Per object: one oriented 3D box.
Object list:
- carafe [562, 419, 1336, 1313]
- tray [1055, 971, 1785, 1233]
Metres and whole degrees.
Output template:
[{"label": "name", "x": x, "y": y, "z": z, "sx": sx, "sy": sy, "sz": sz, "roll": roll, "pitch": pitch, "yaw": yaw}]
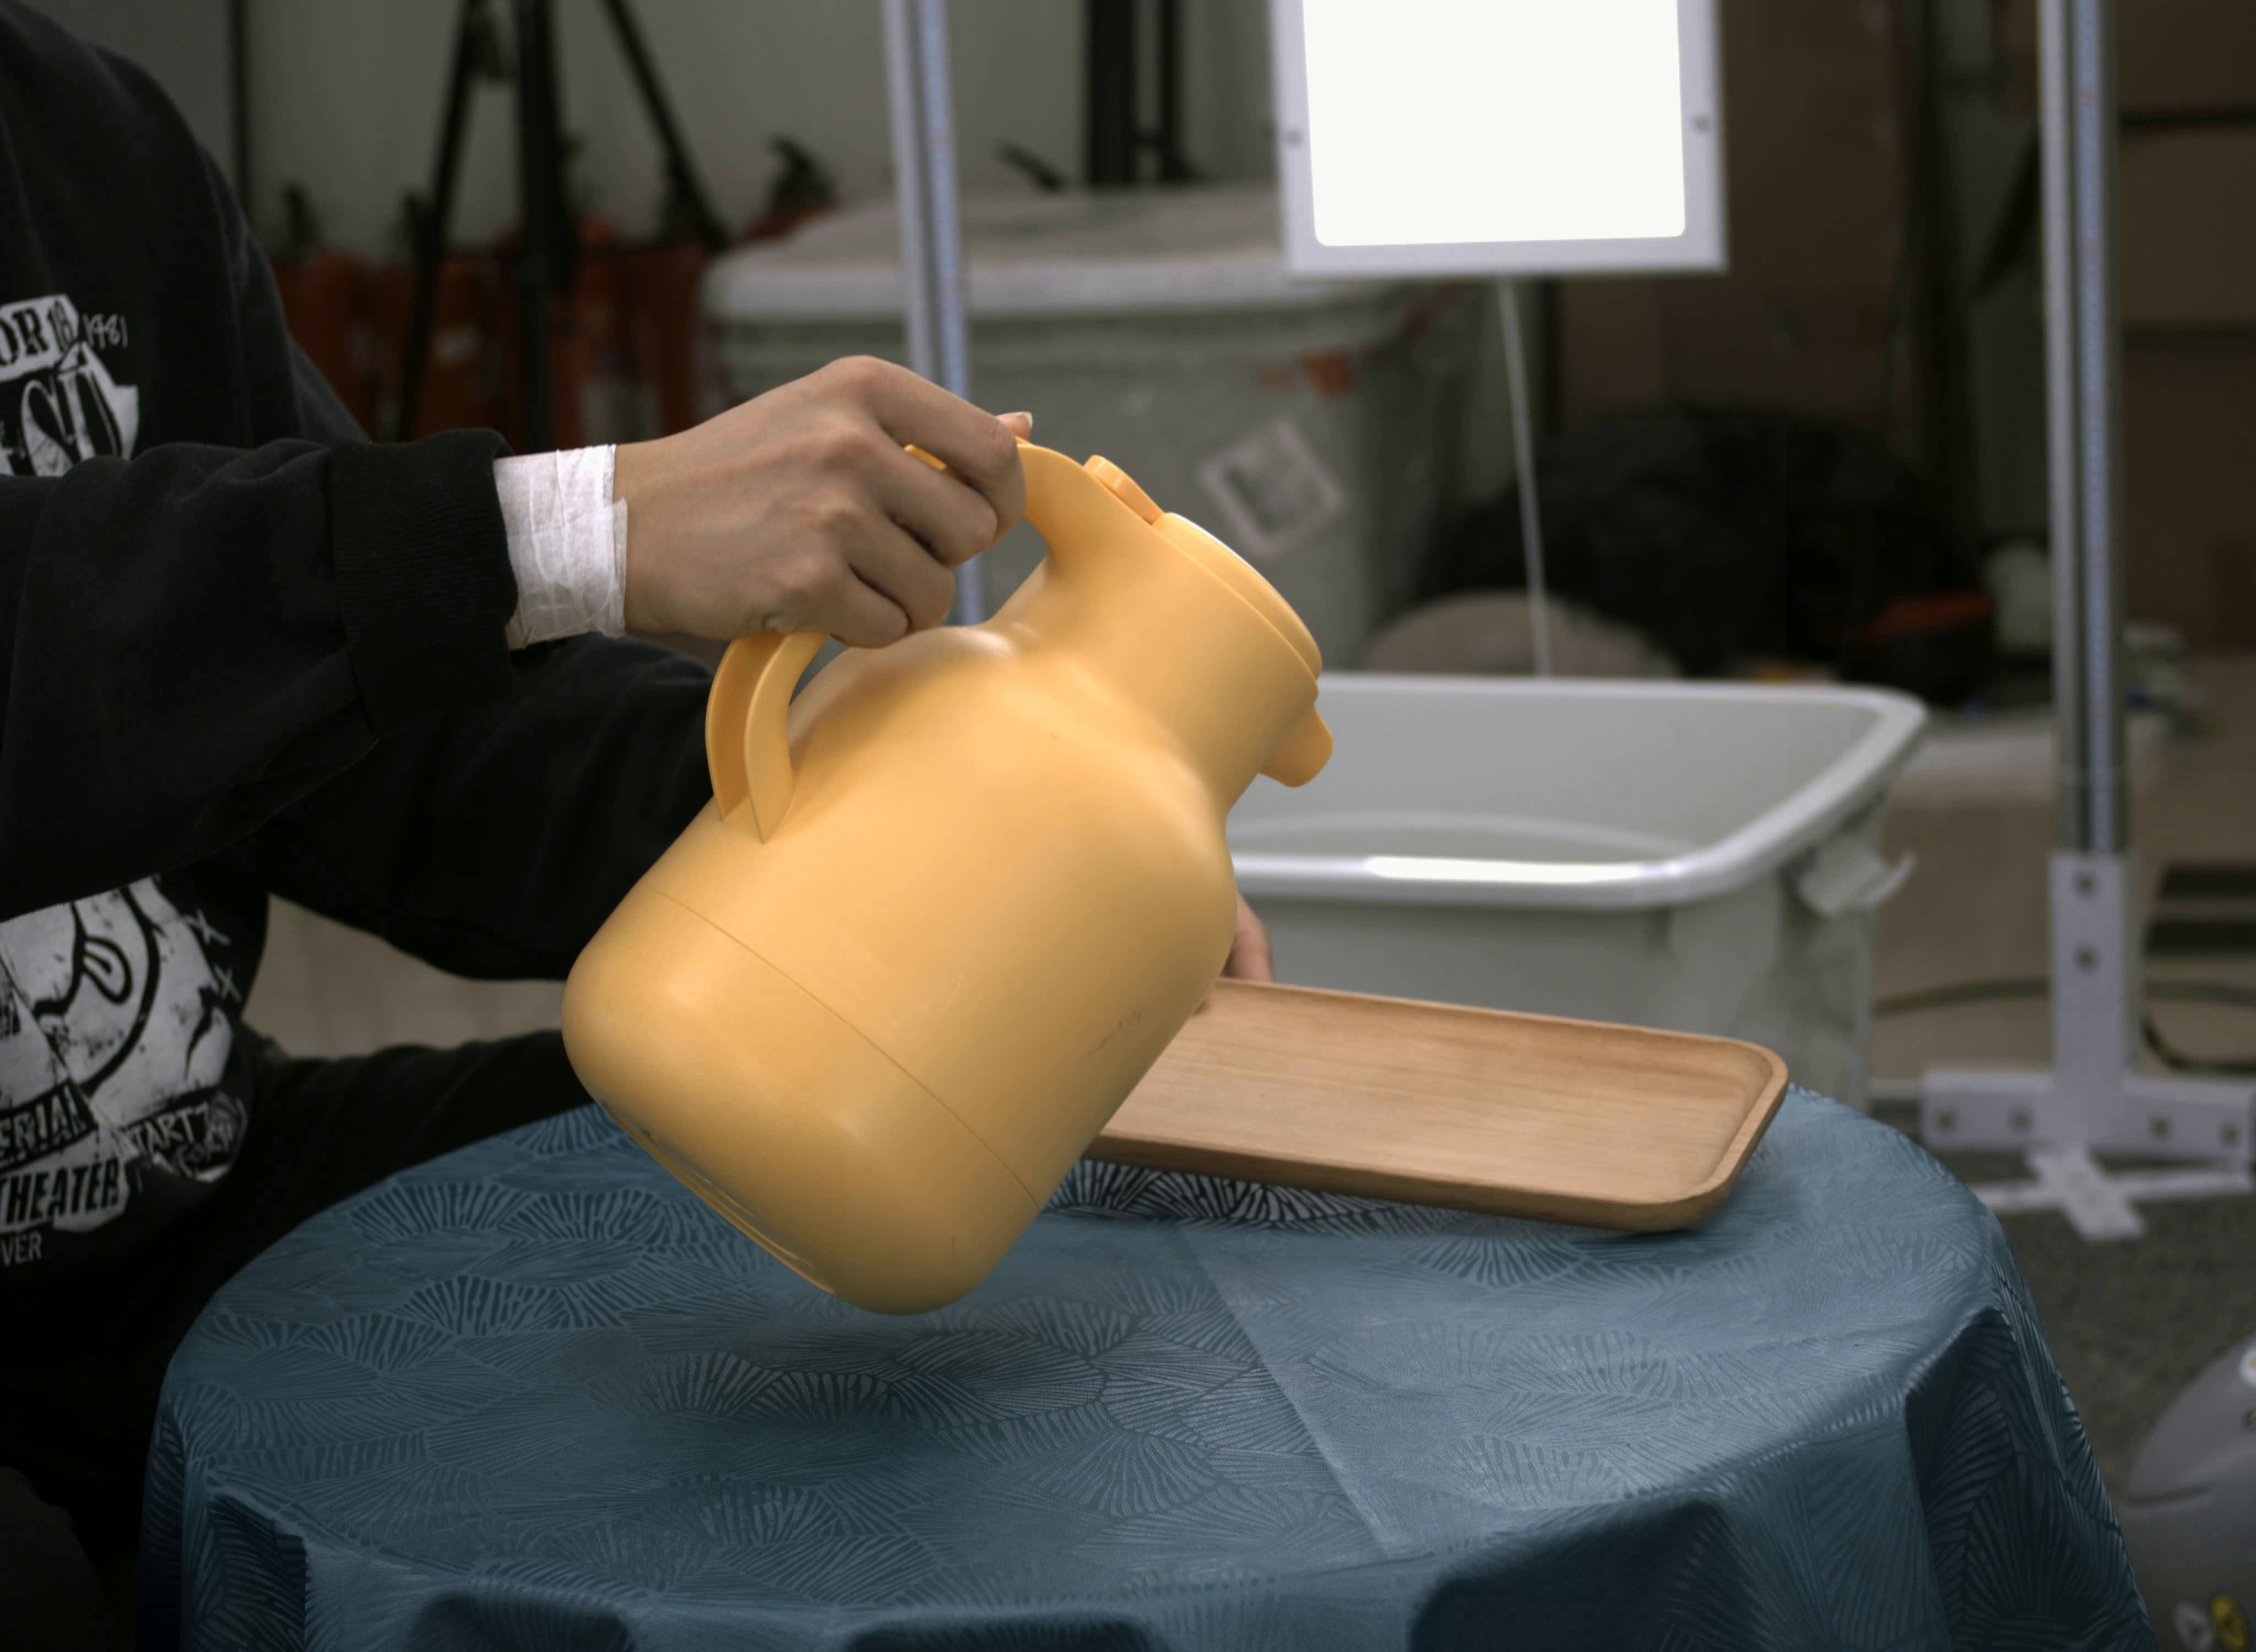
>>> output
[{"label": "carafe", "x": -0.059, "y": 0.003, "z": 1.724, "sx": 0.259, "sy": 0.200, "sz": 0.166, "roll": -51, "pitch": 33, "yaw": -11}, {"label": "tray", "x": 0.095, "y": 0.094, "z": 1.890, "sx": 0.254, "sy": 0.023, "sz": 0.128, "roll": 6, "pitch": 24, "yaw": 24}]
